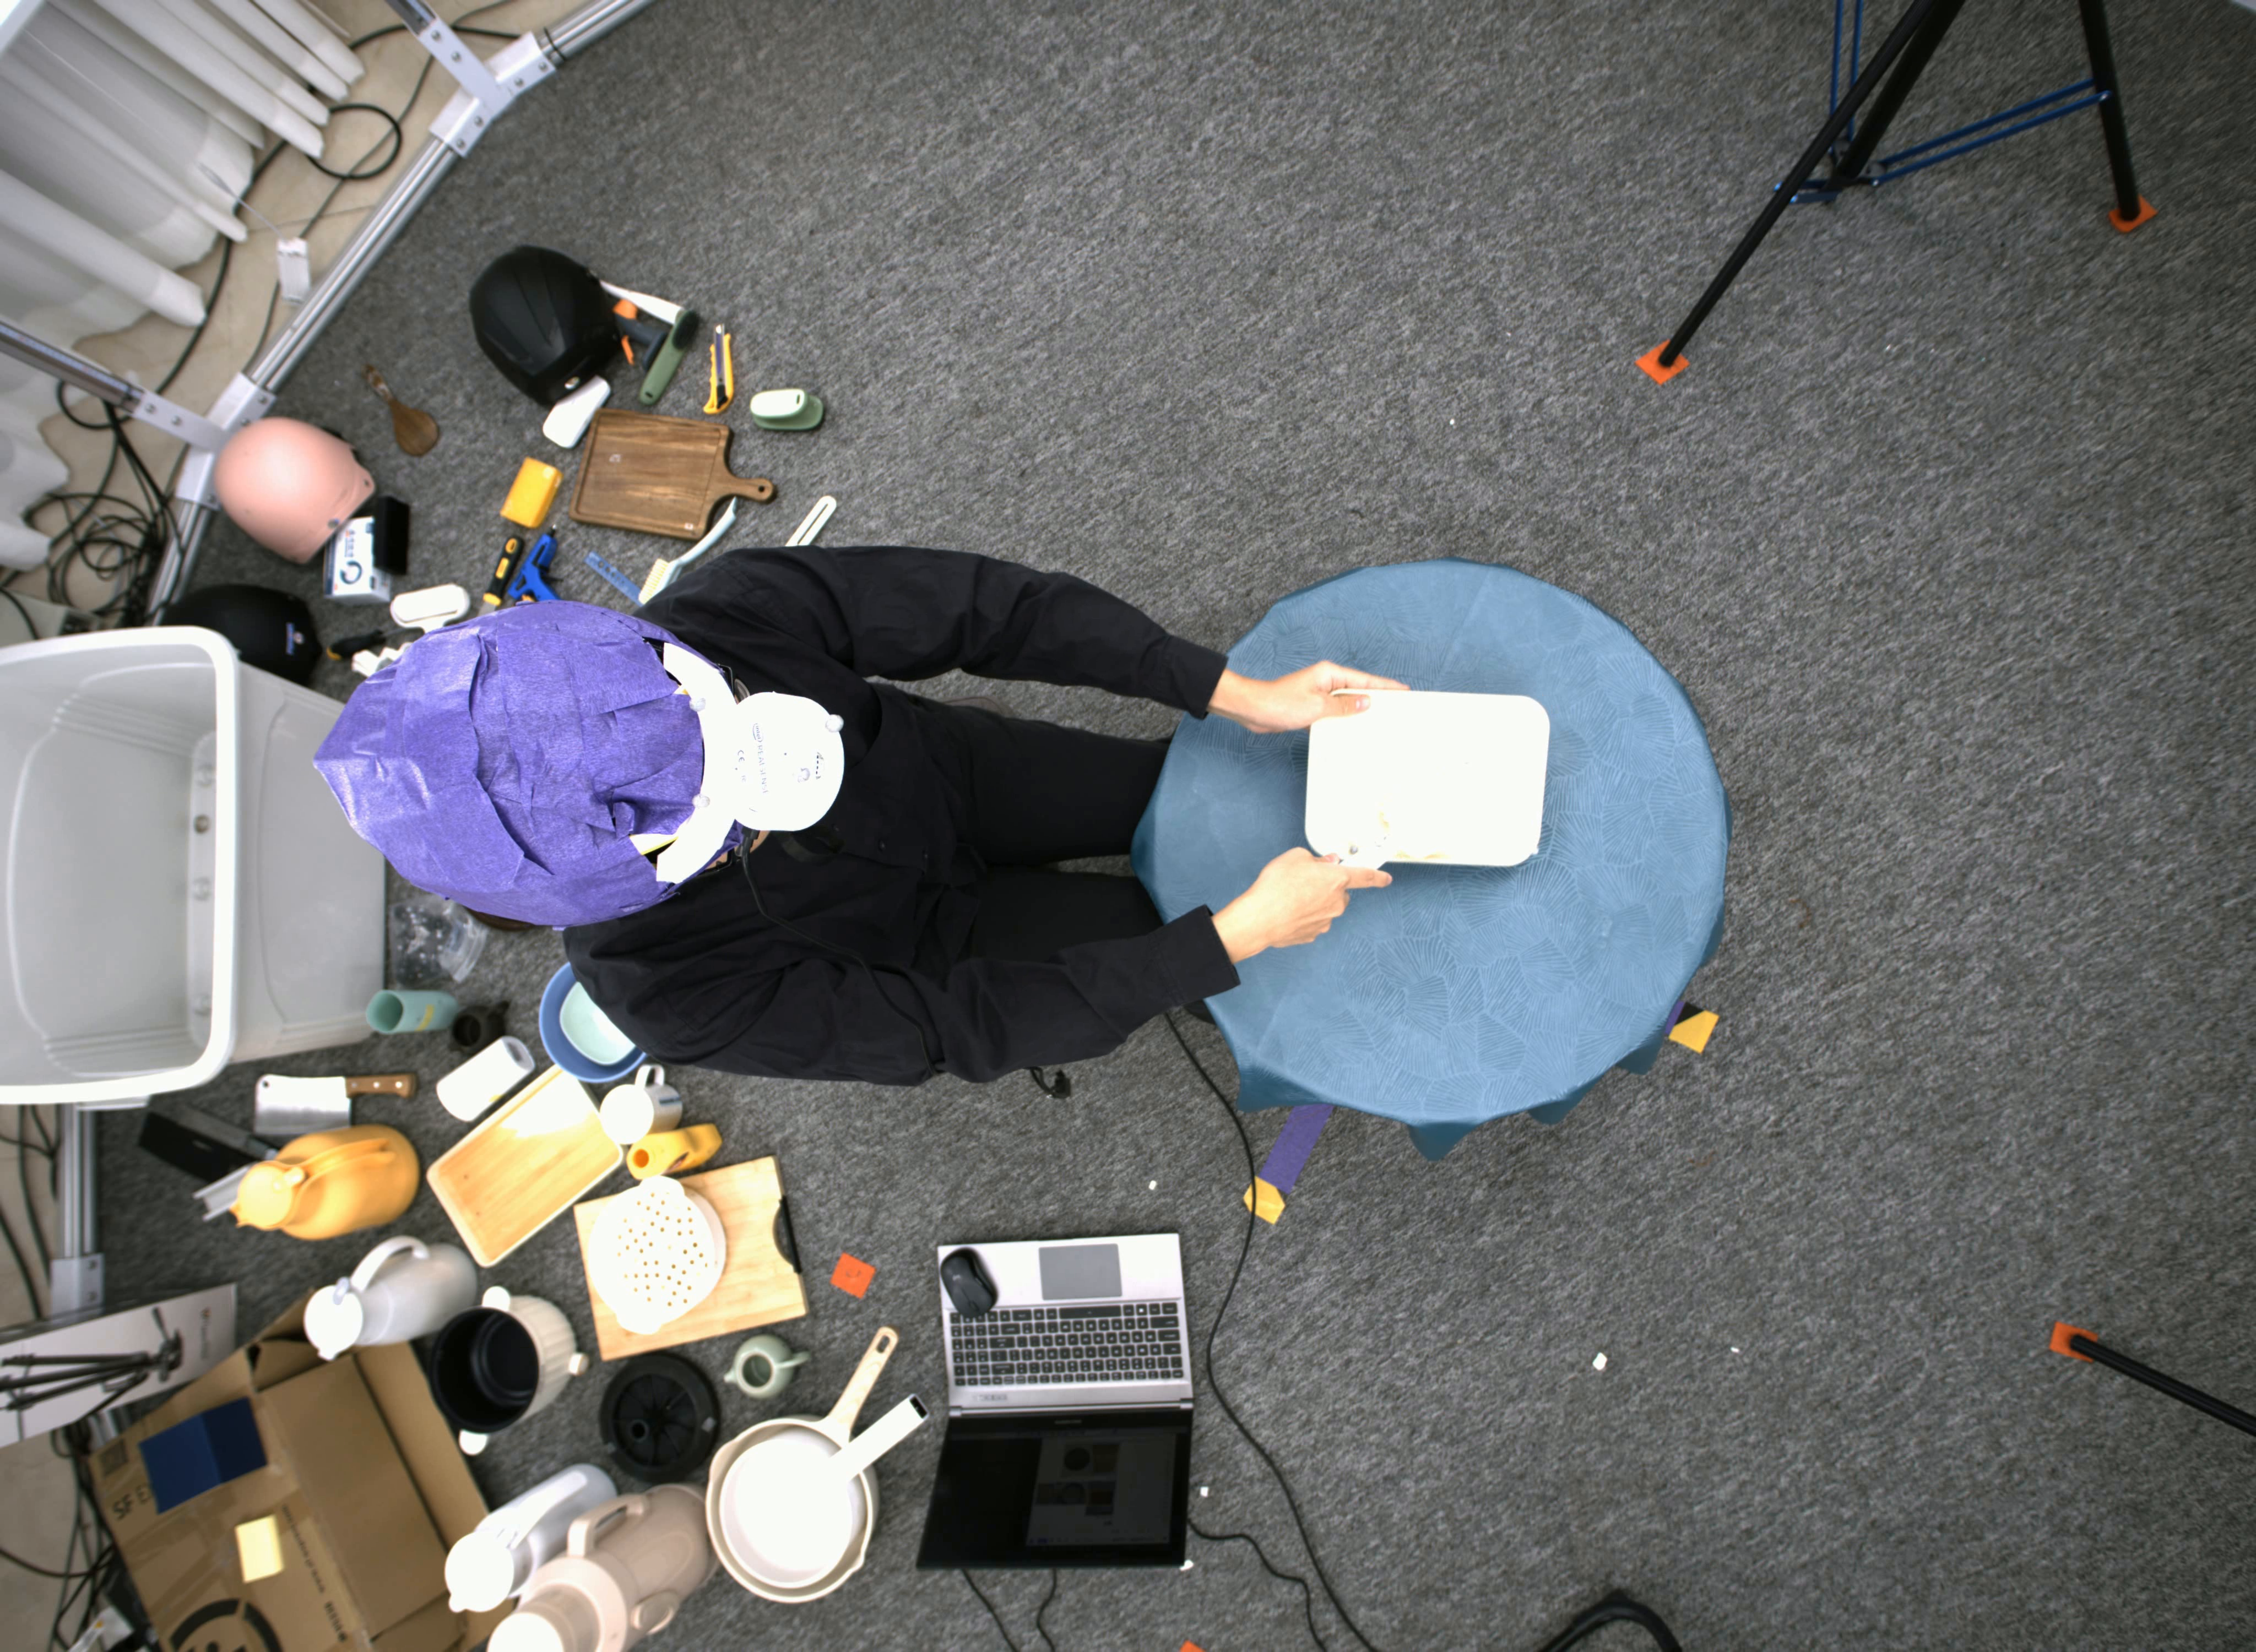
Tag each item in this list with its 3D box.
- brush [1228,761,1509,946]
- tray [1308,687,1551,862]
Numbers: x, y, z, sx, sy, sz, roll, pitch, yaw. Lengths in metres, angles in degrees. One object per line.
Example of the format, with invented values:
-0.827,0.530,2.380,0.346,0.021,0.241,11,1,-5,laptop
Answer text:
0.225,0.021,1.347,0.324,0.086,0.082,-30,63,-9,brush
0.299,-0.052,1.372,0.240,0.017,0.173,2,101,-2,tray
